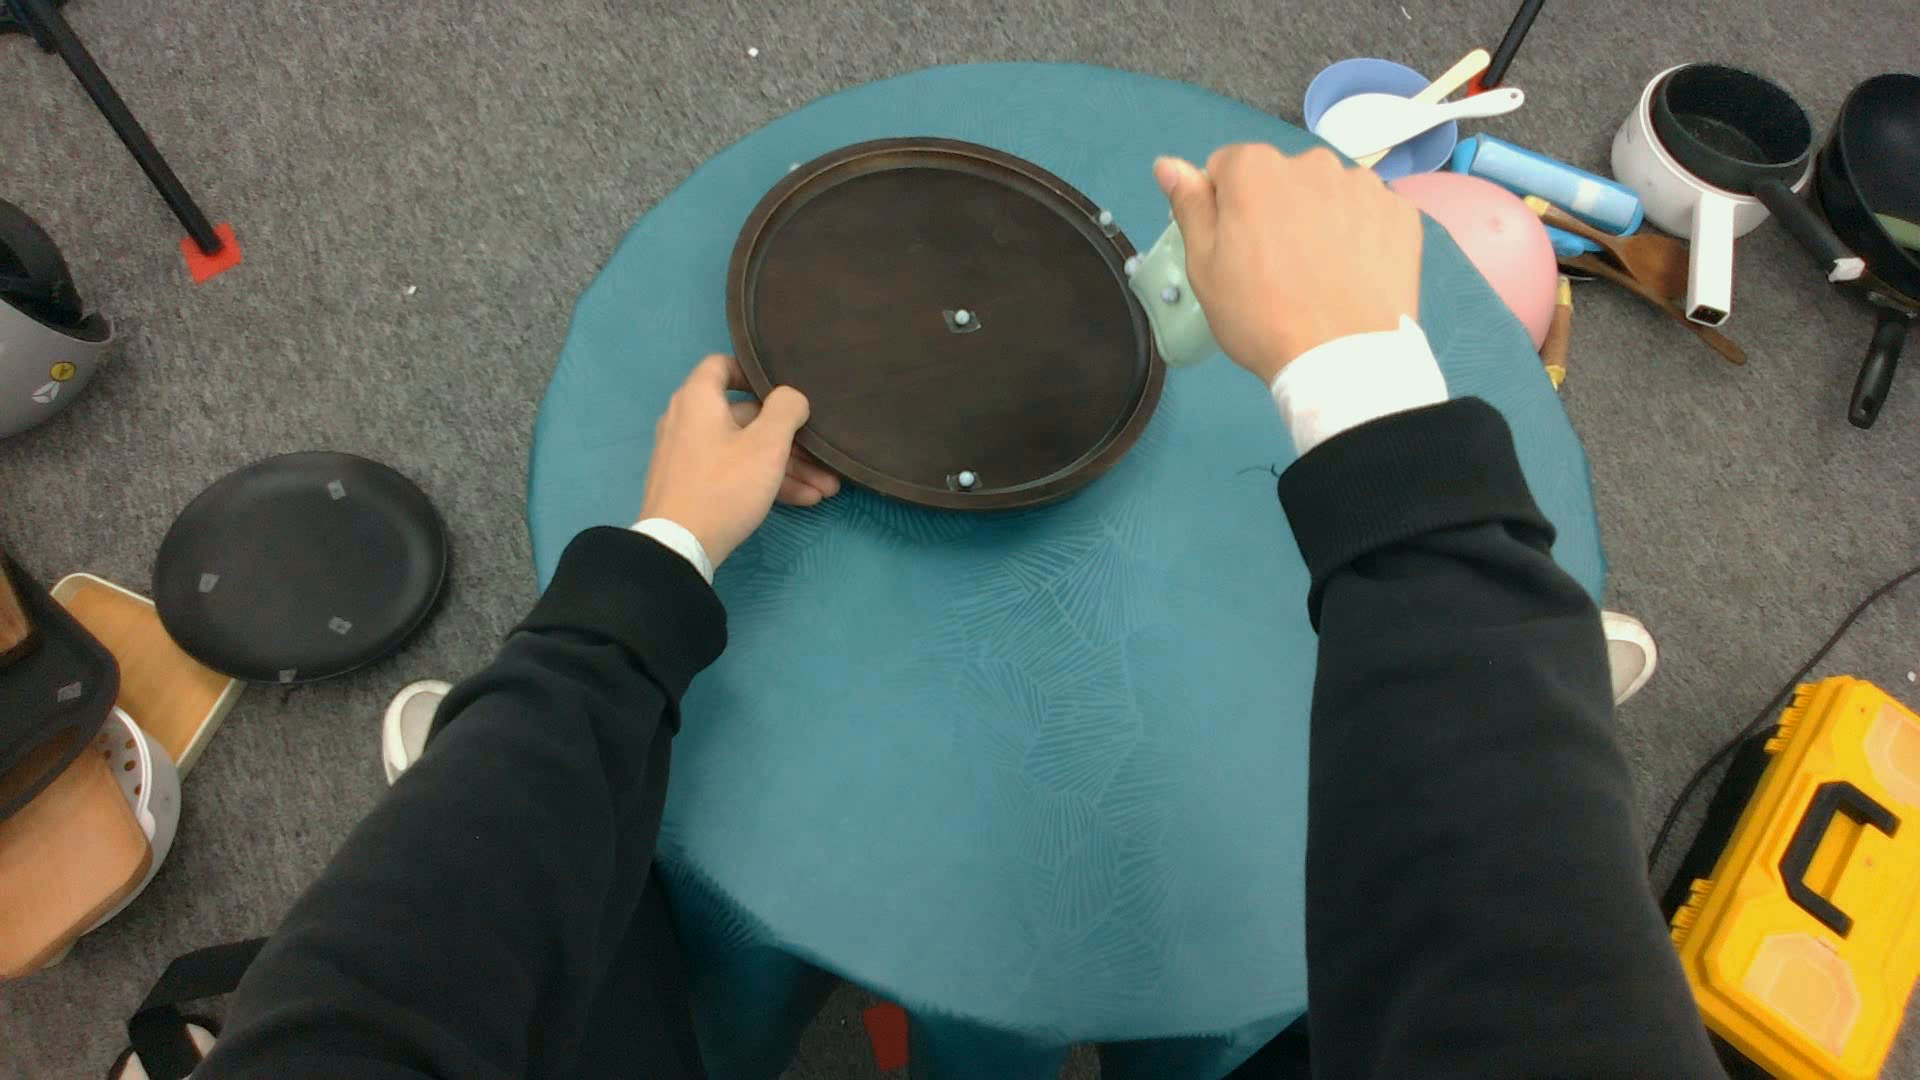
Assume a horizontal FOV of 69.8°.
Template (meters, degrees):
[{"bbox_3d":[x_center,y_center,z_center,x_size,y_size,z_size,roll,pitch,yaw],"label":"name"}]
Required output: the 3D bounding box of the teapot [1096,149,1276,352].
[{"bbox_3d":[0.105,-0.139,0.653,0.061,0.136,0.096,38,77,1],"label":"teapot"}]

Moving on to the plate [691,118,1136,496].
[{"bbox_3d":[-0.023,-0.135,0.776,0.255,0.029,0.256,7,61,-12],"label":"plate"}]
